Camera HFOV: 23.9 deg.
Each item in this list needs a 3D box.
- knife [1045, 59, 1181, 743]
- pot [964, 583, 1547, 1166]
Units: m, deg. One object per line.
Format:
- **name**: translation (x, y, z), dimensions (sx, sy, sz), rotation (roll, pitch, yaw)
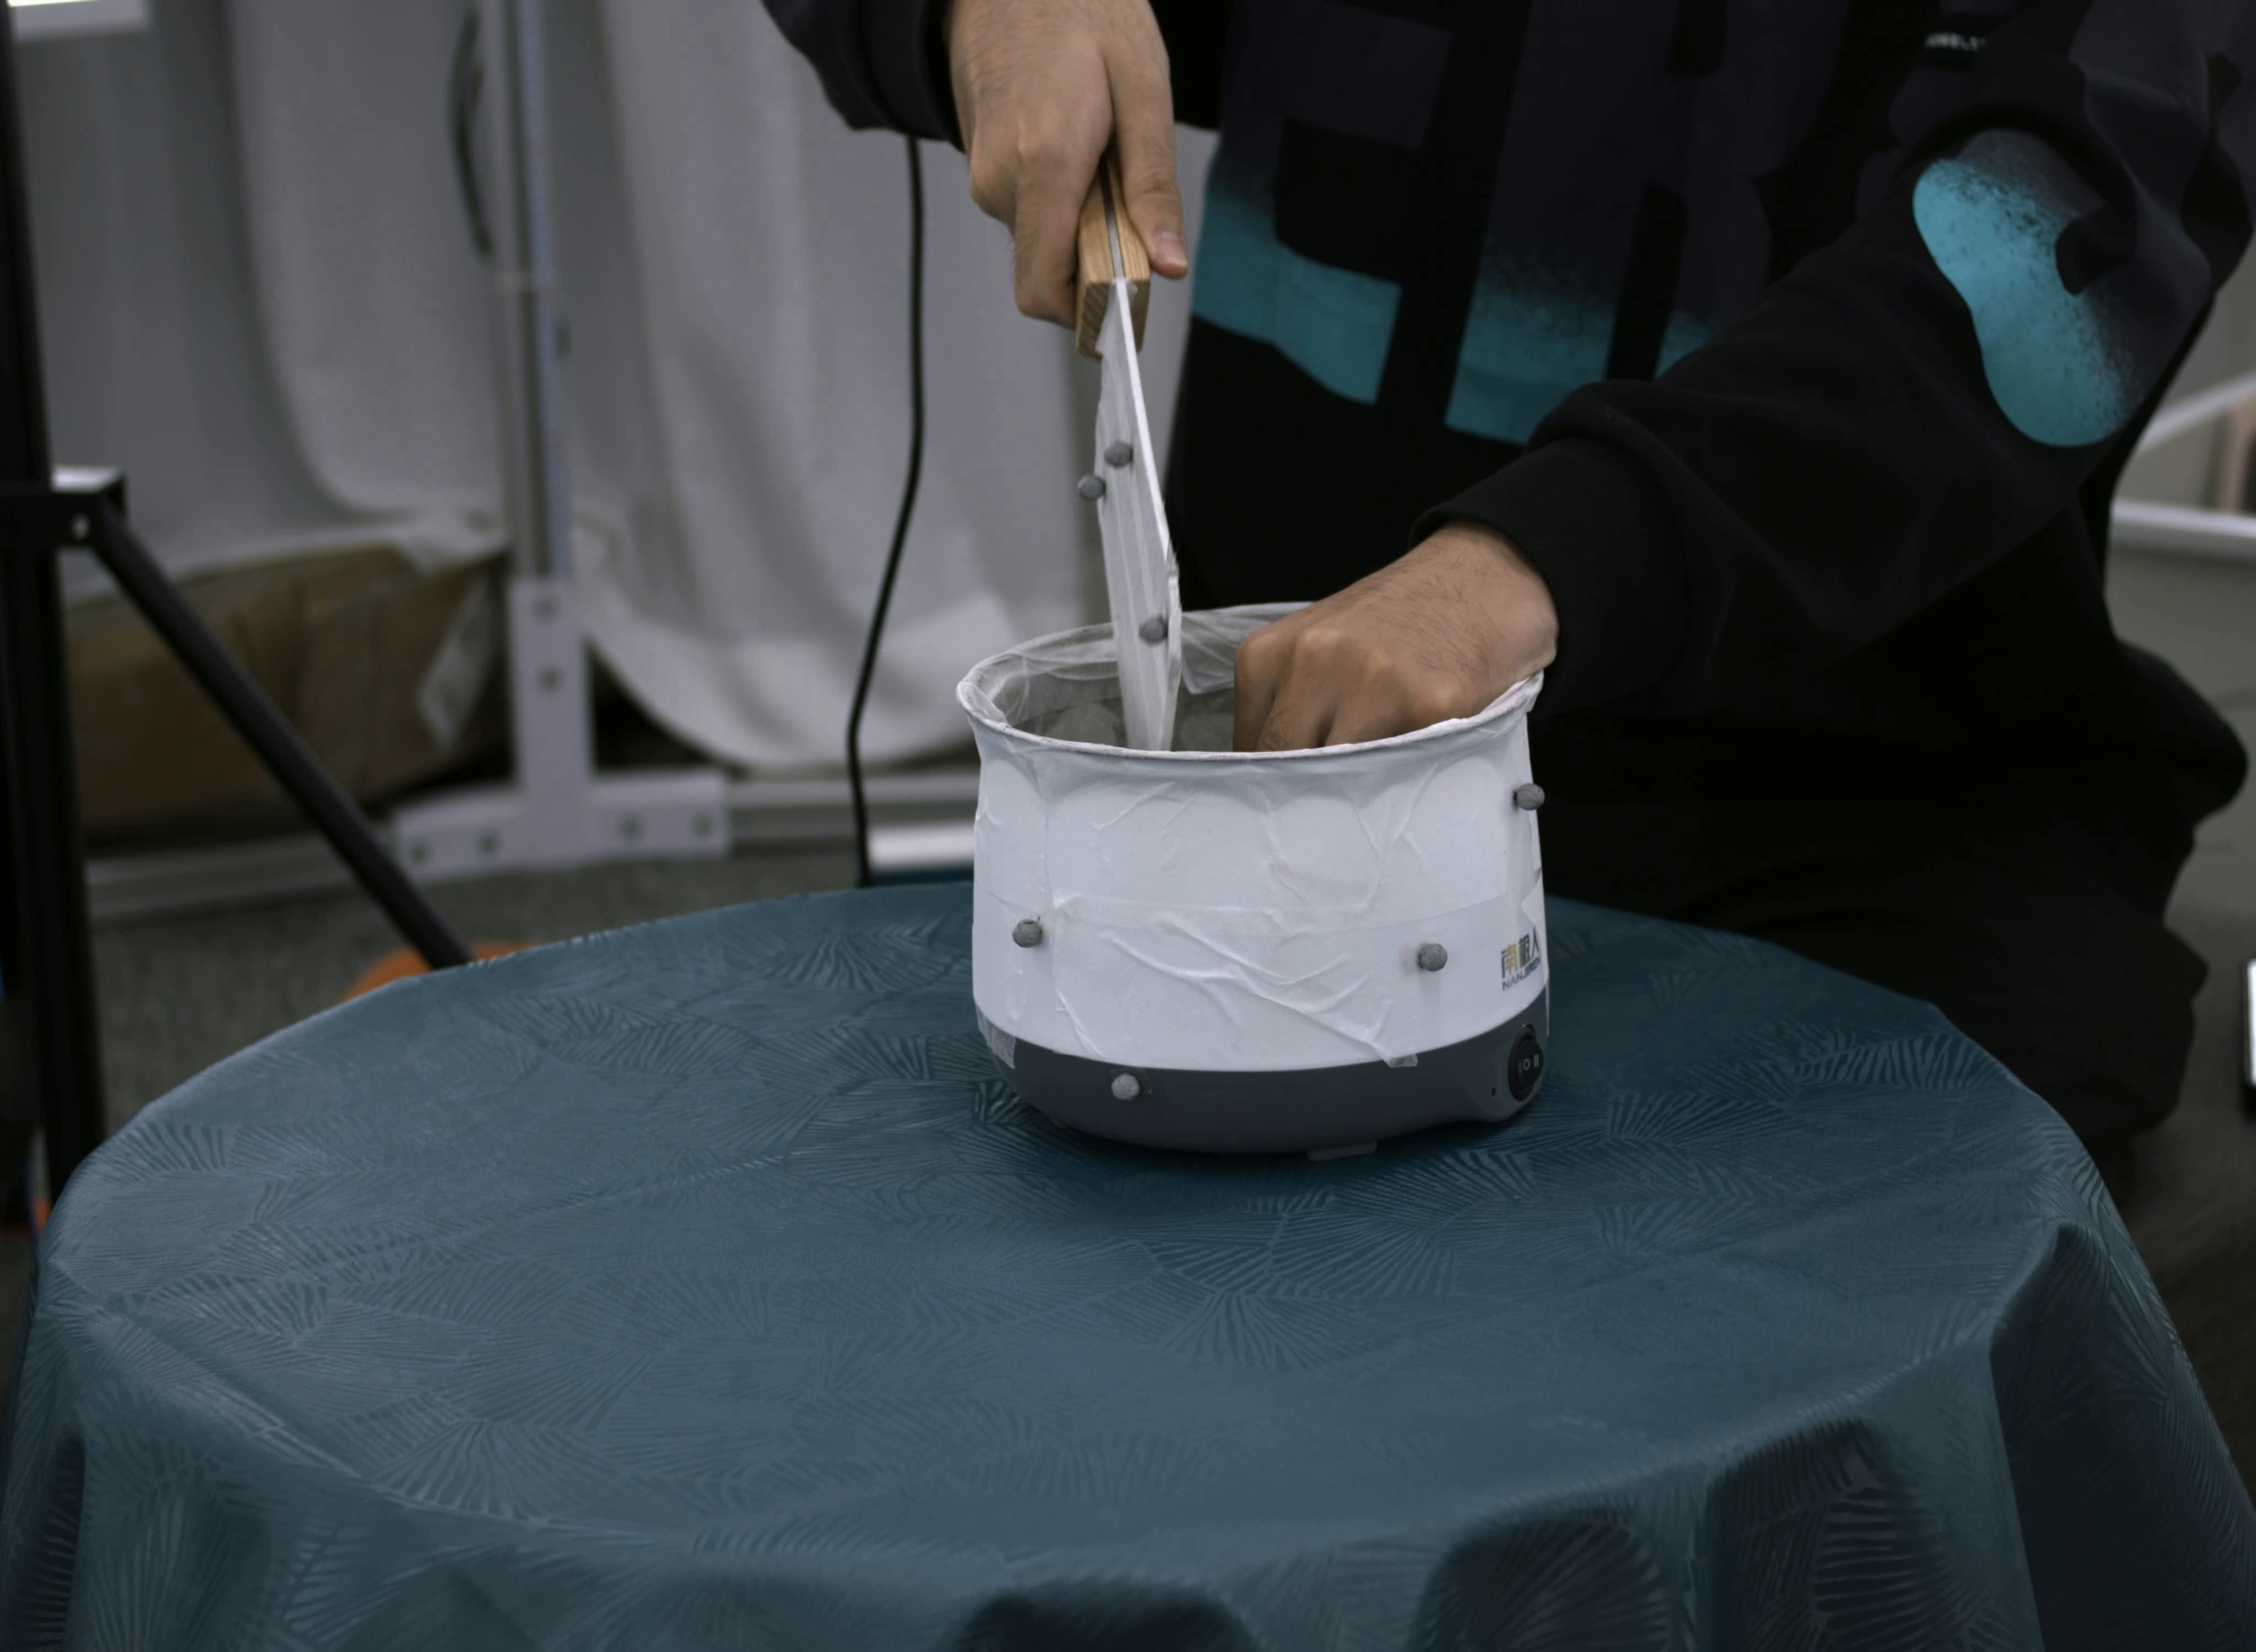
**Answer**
- **knife**: translation (-0.003, -0.128, 1.659), dimensions (0.021, 0.113, 0.319), rotation (1, 47, -8)
- **pot**: translation (0.052, 0.009, 1.646), dimensions (0.181, 0.136, 0.230), rotation (6, 19, 25)
